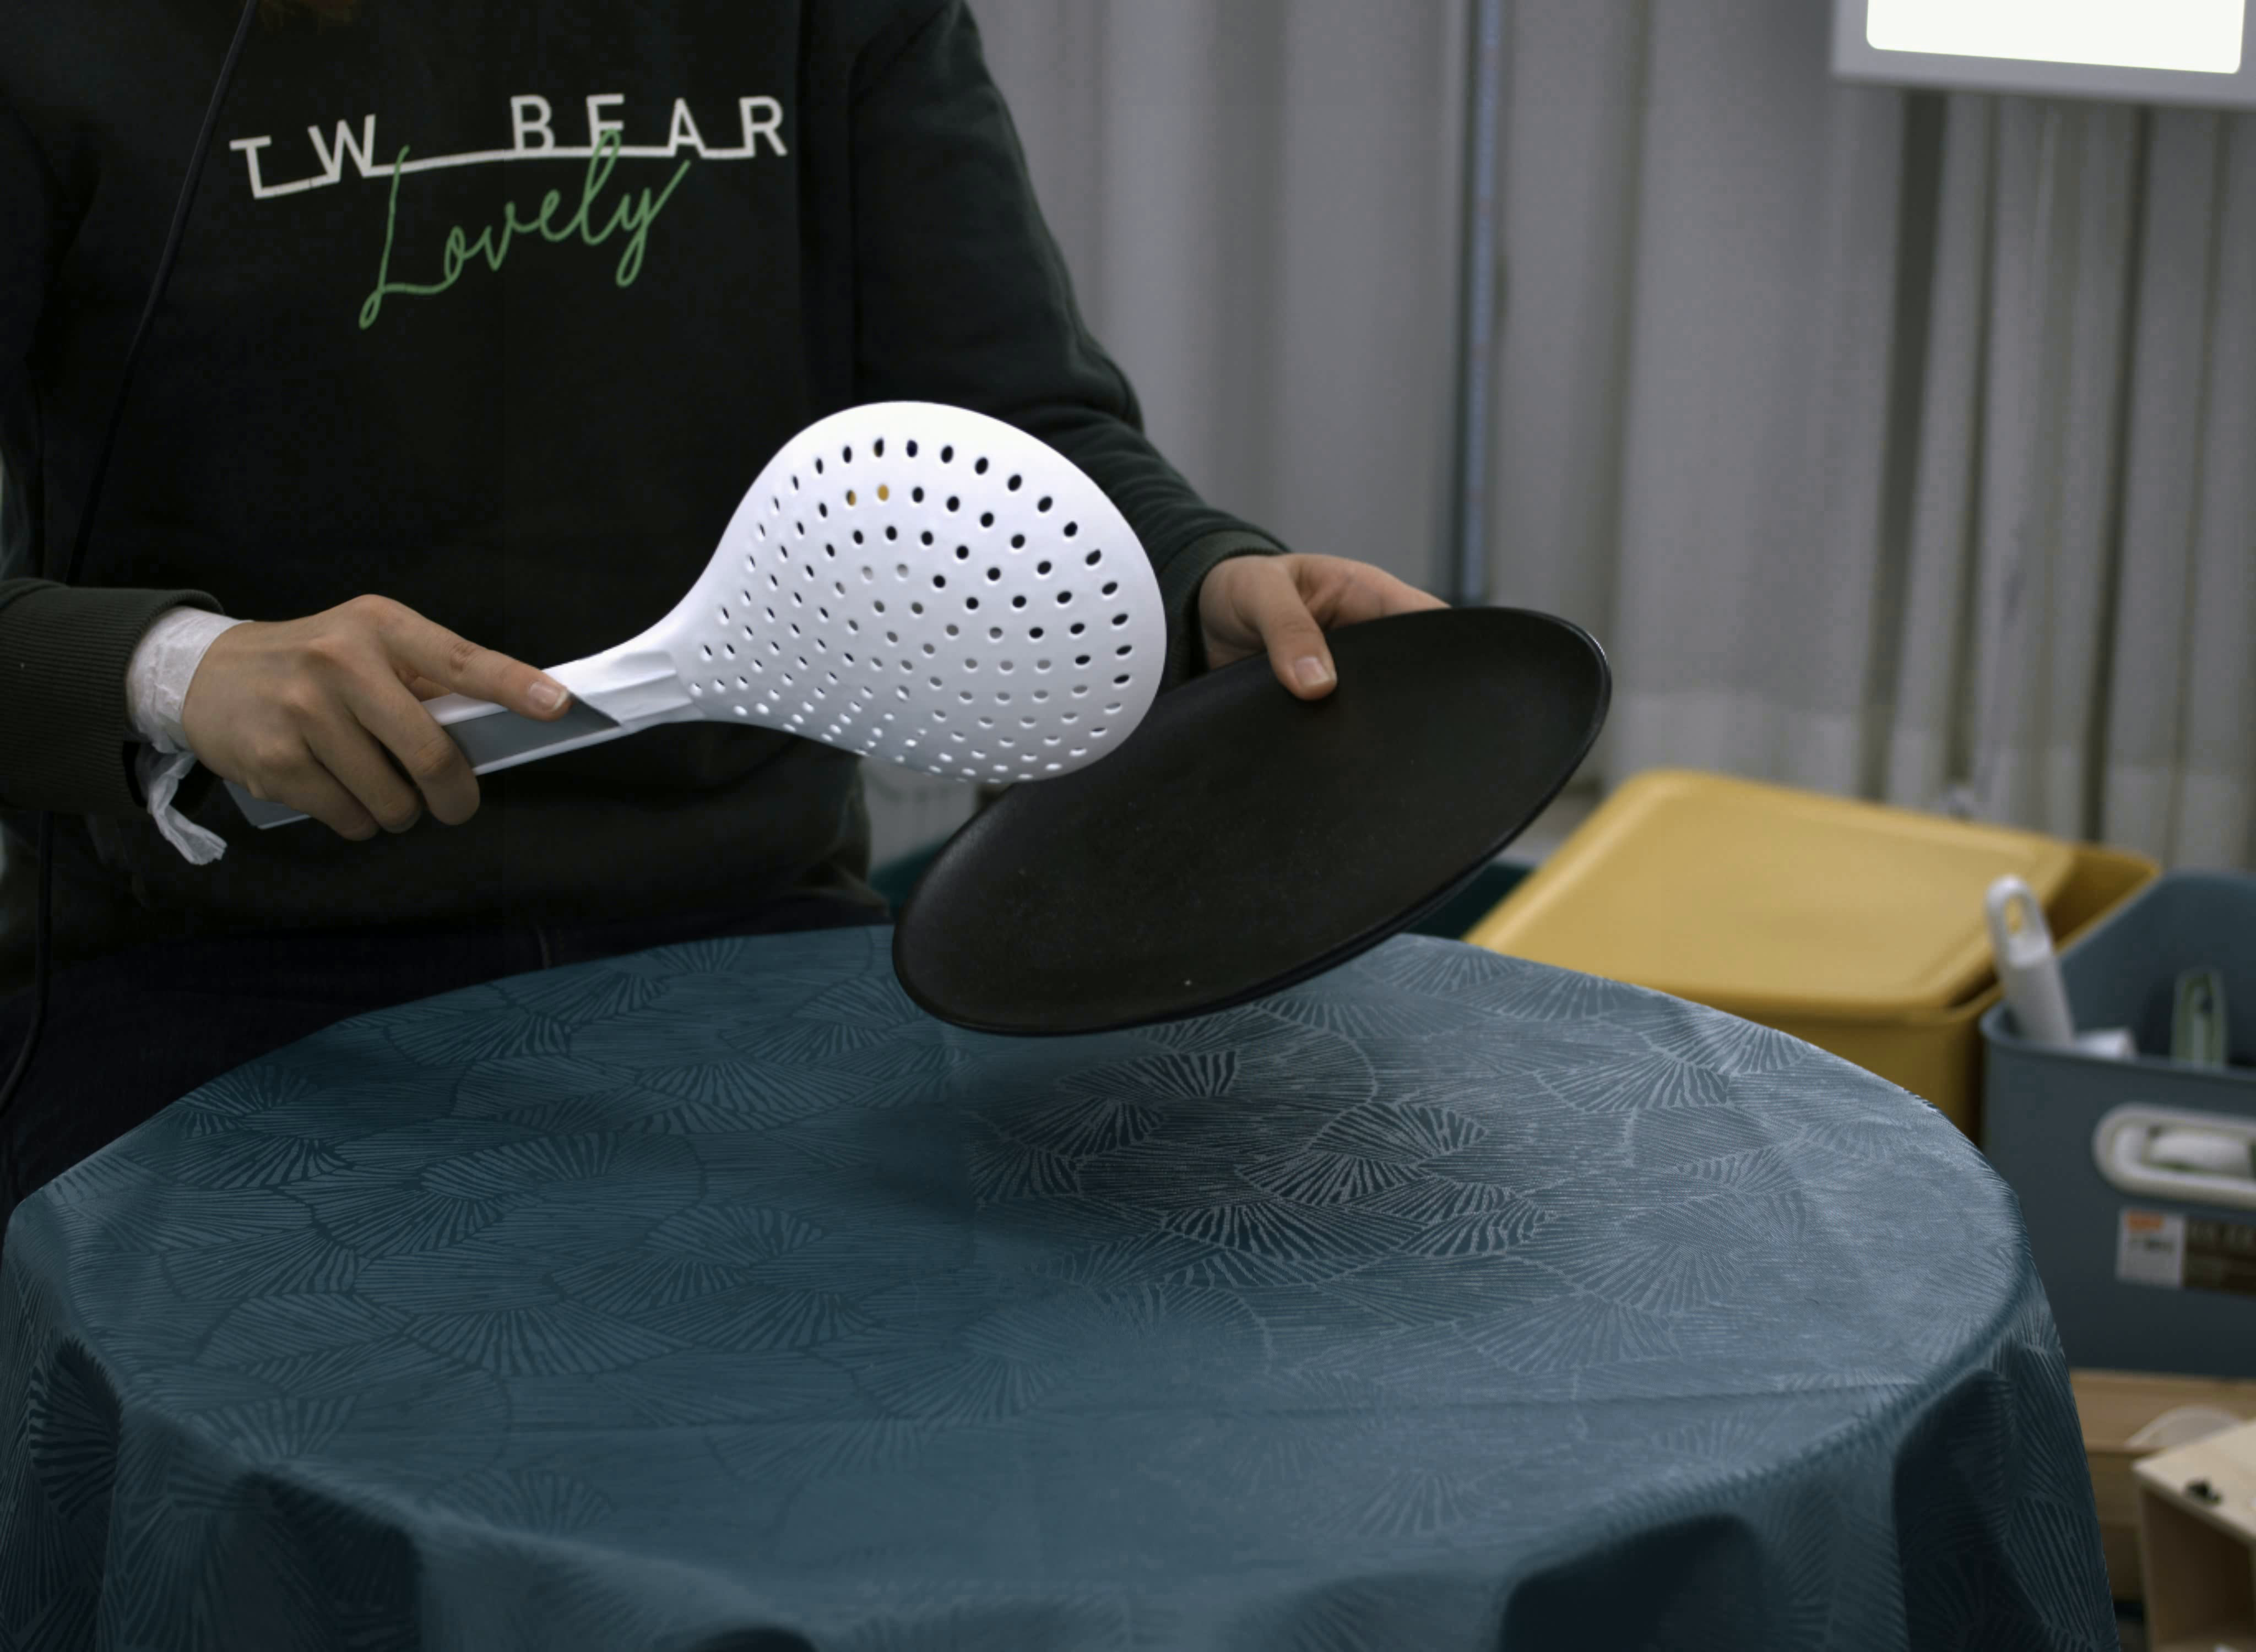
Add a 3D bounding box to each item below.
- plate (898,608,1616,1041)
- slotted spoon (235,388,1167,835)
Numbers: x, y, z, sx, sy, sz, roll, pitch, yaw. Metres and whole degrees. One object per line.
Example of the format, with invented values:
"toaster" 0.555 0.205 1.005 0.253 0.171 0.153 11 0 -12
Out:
"plate" 0.042 0.004 1.649 0.243 0.024 0.242 -20 24 10
"slotted spoon" -0.144 -0.046 1.636 0.346 0.137 0.045 -11 29 35
